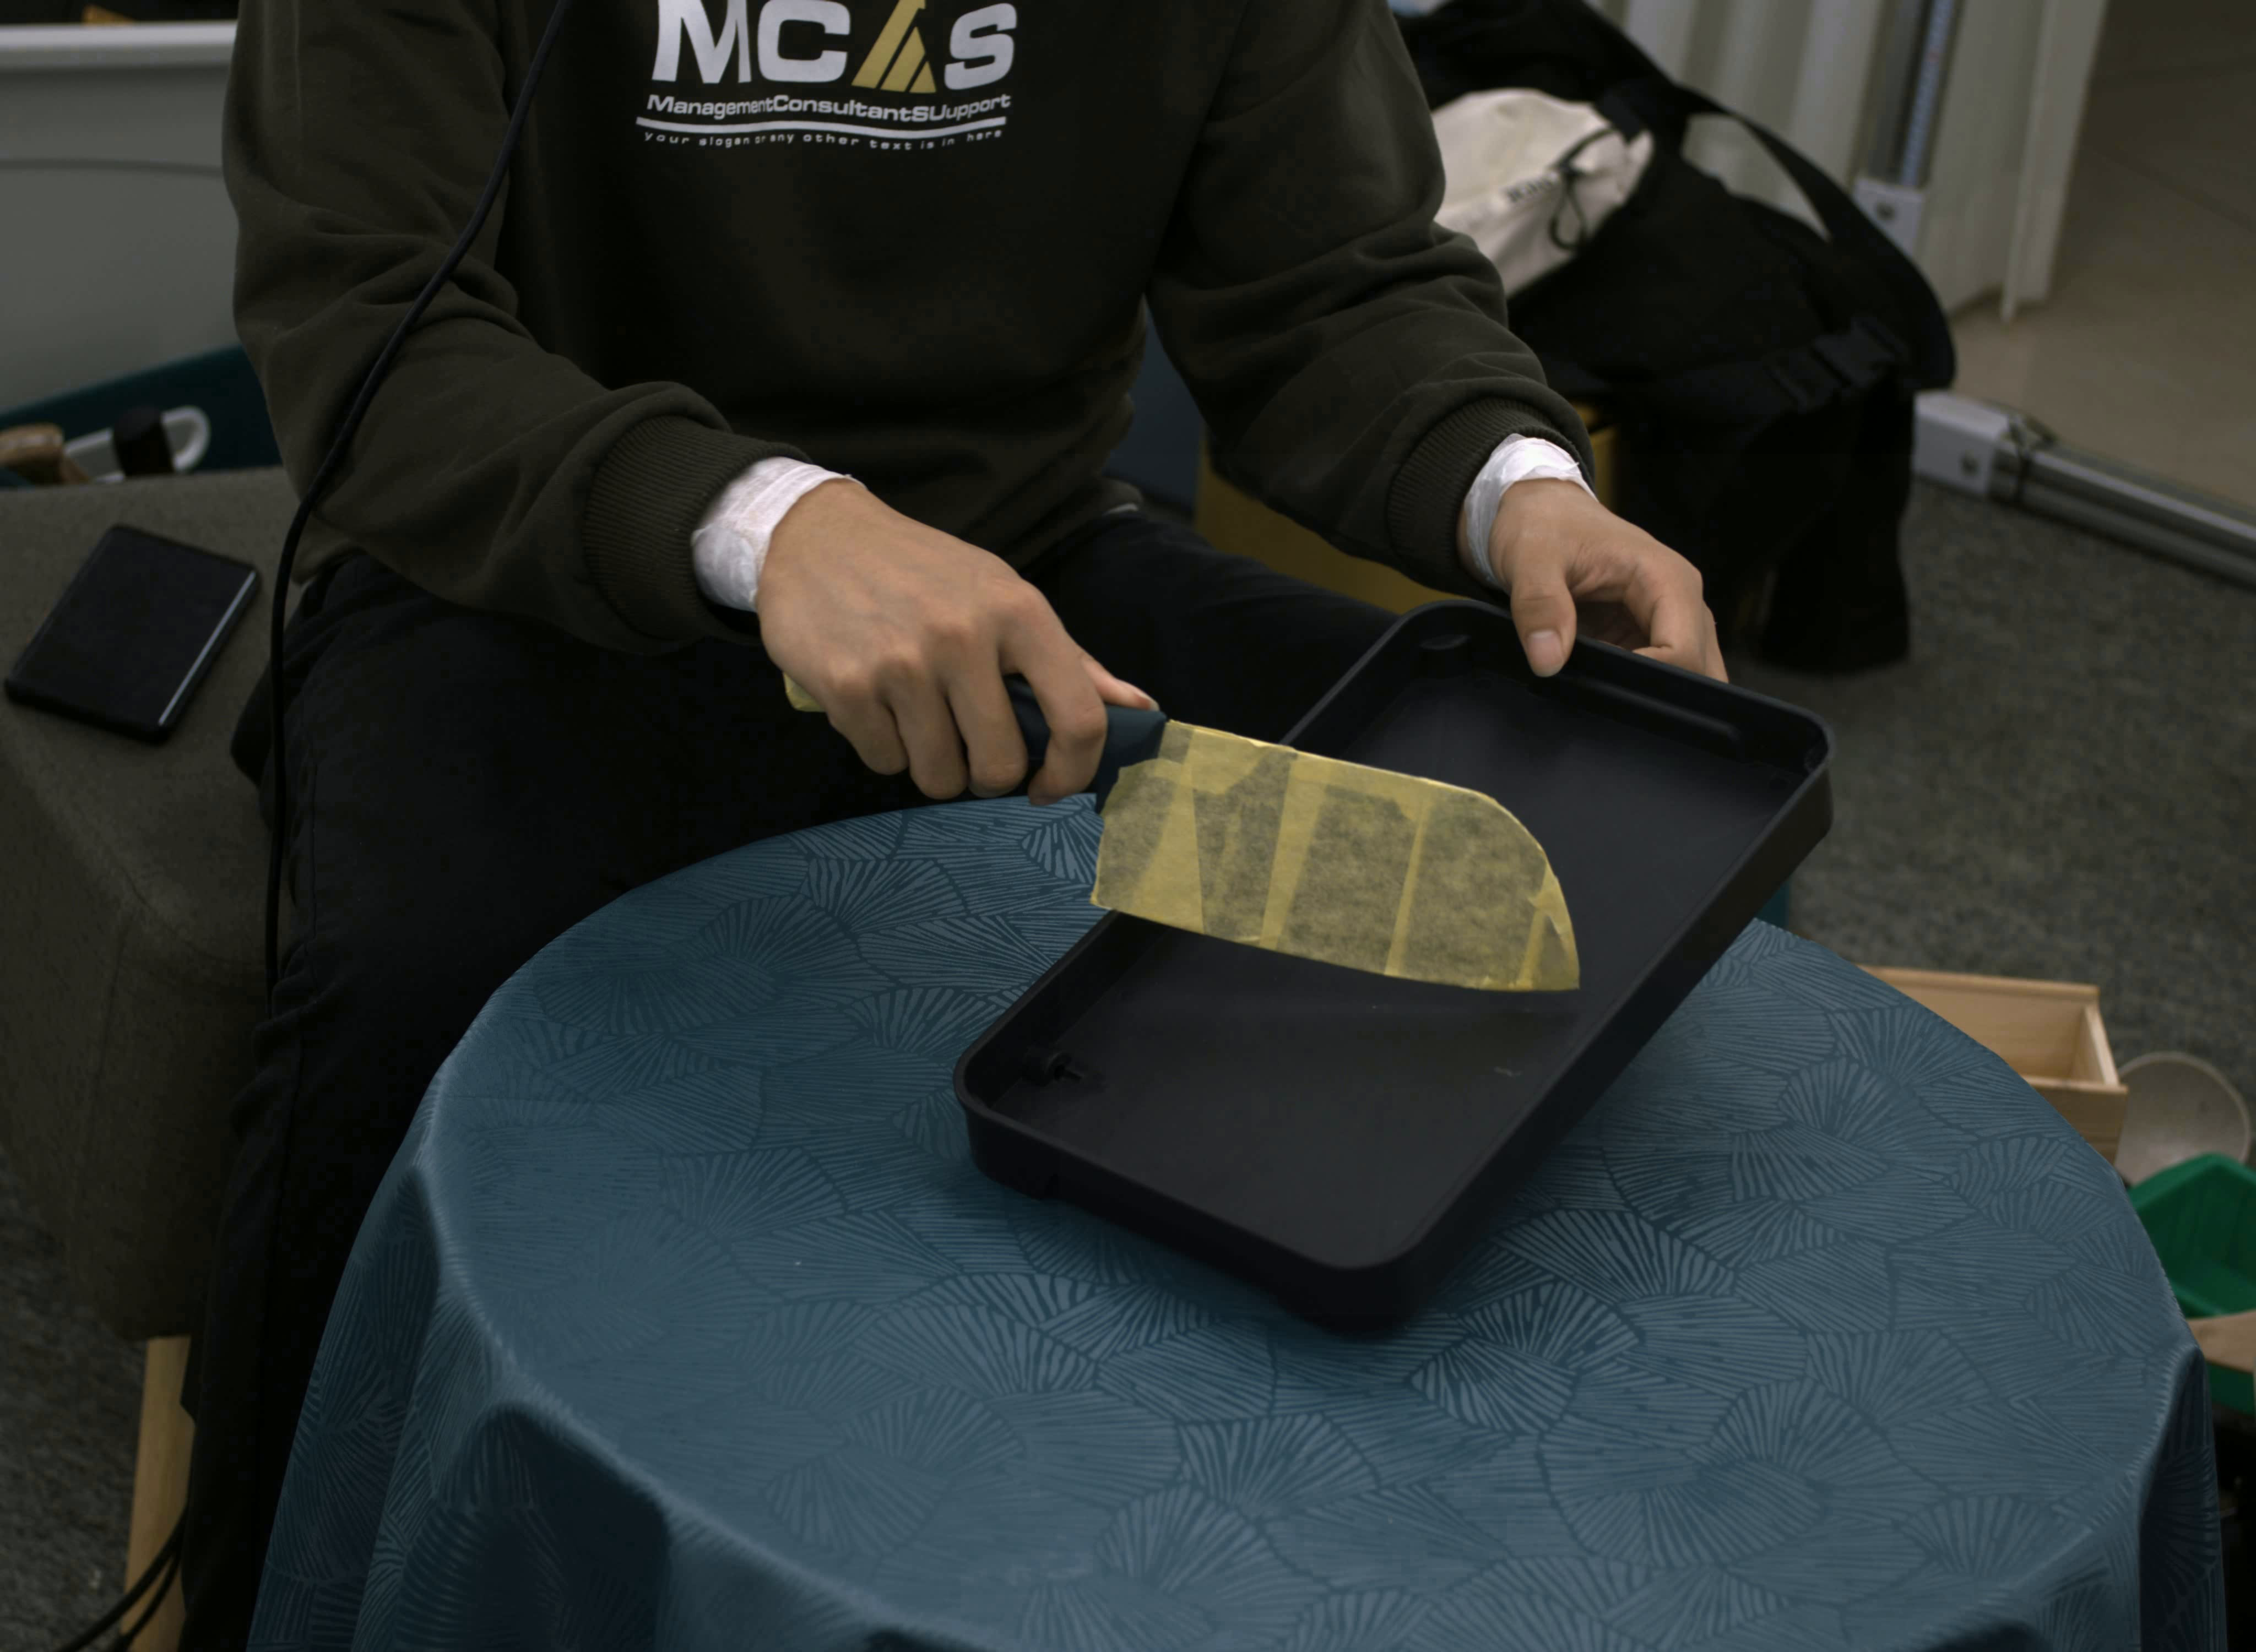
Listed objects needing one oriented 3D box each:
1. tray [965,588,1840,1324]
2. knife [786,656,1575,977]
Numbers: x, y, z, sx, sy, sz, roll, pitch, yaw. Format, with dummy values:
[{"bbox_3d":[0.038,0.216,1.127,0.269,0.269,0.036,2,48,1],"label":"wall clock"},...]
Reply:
[{"bbox_3d":[0.101,0.038,1.853,0.185,0.037,0.318,19,47,30],"label":"tray"},{"bbox_3d":[0.016,-0.004,1.844,0.289,0.081,0.027,16,15,9],"label":"knife"}]
